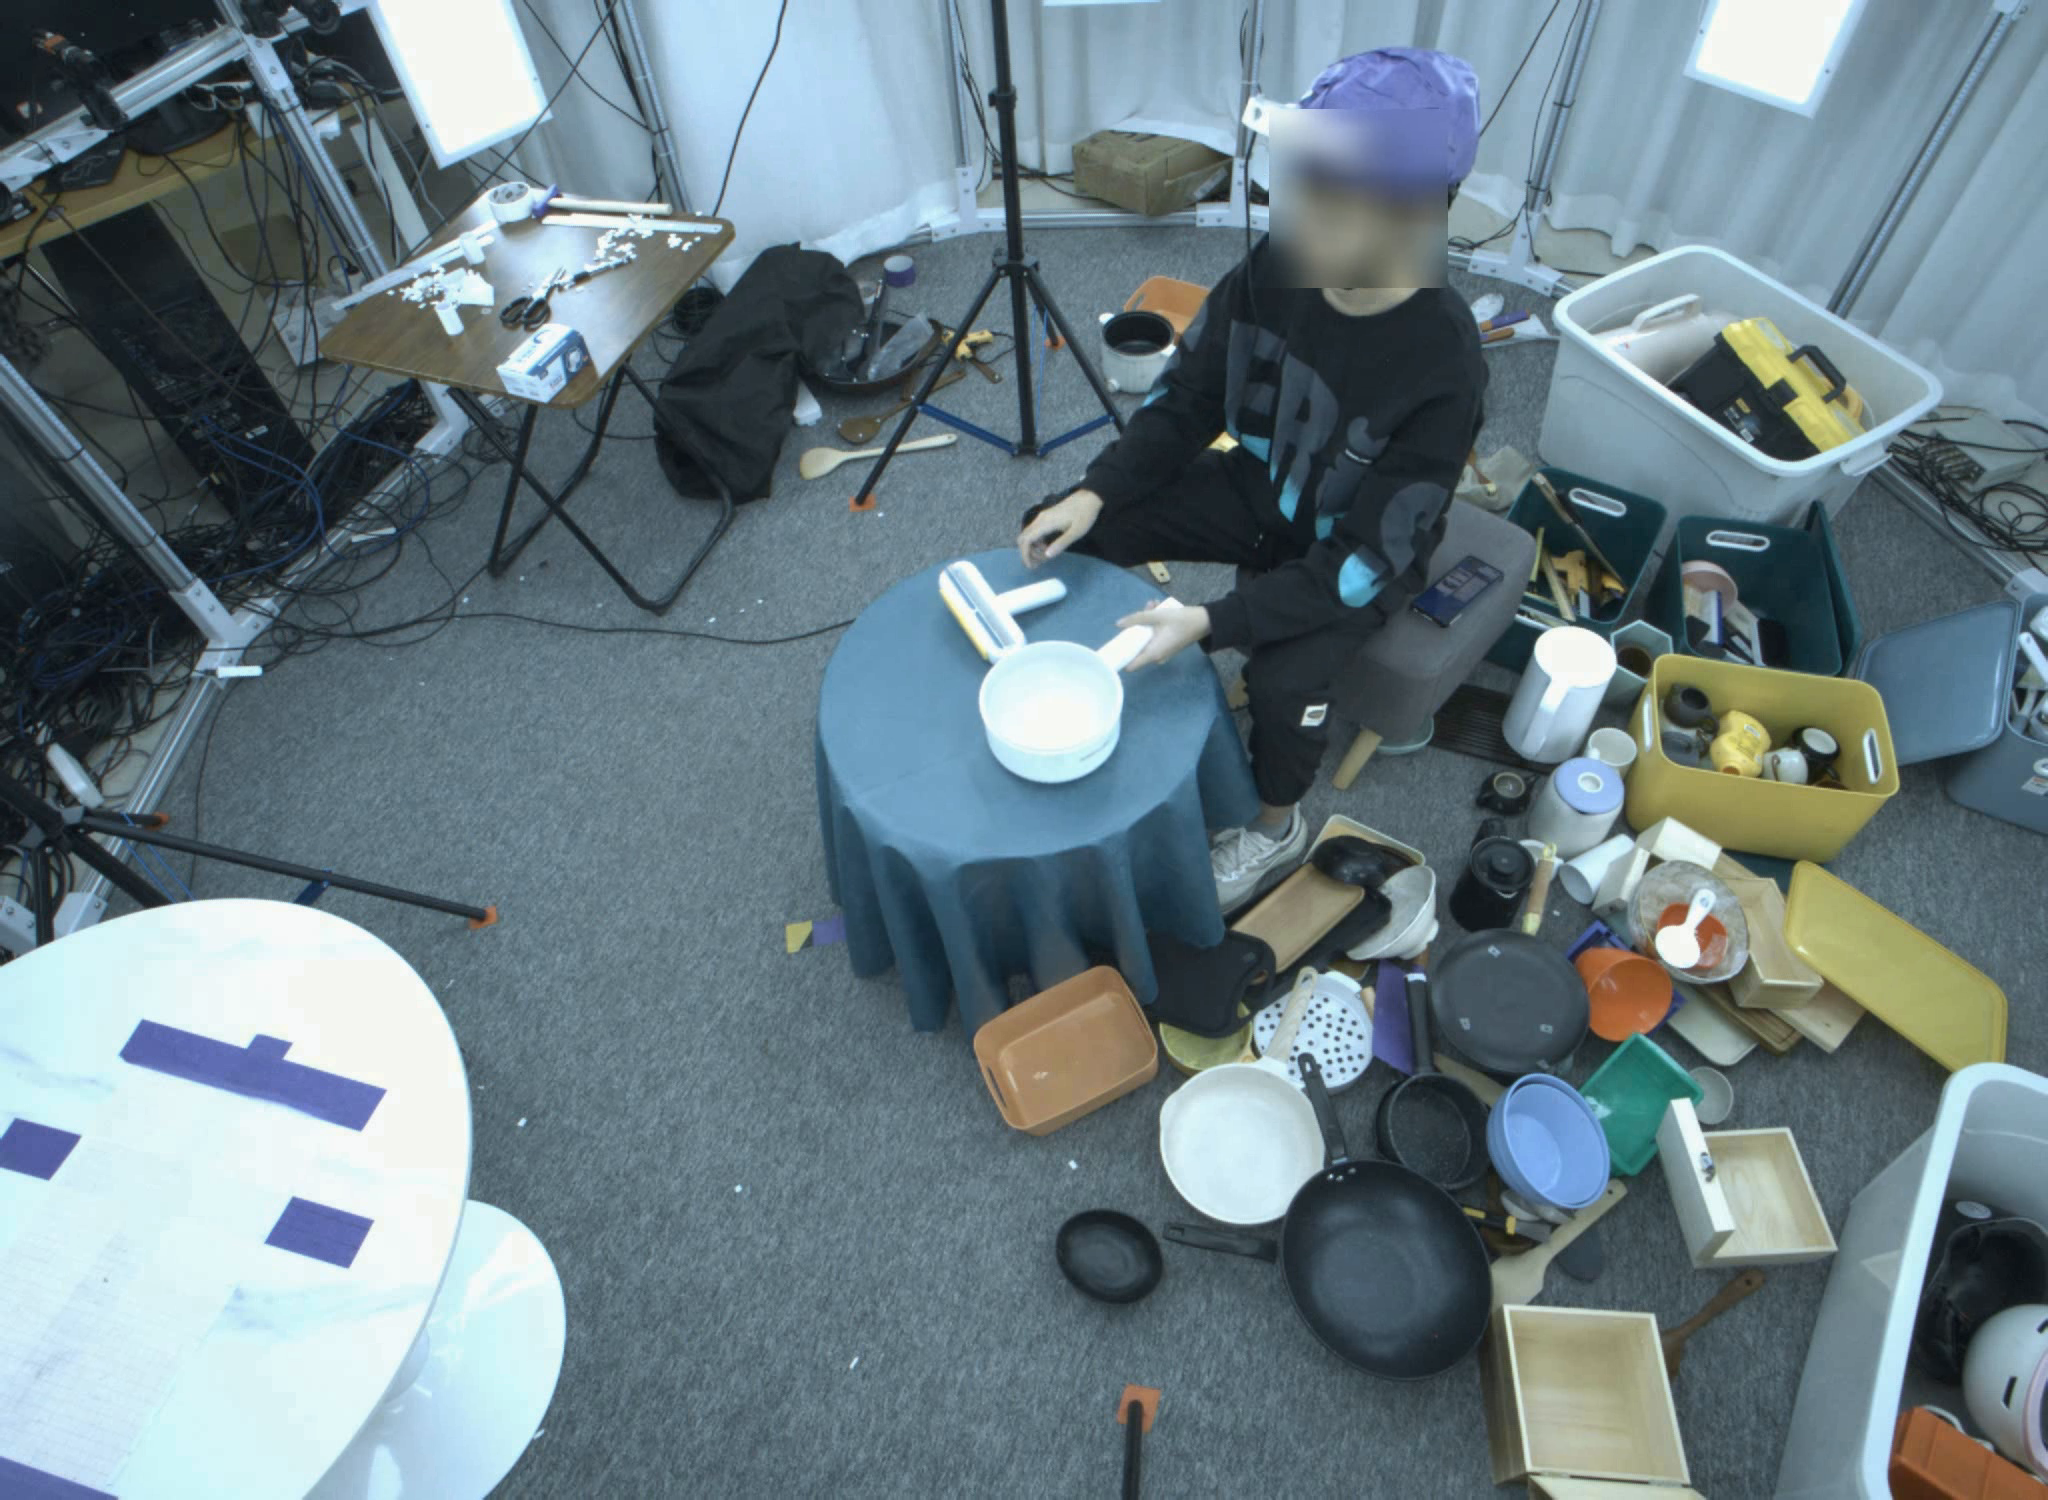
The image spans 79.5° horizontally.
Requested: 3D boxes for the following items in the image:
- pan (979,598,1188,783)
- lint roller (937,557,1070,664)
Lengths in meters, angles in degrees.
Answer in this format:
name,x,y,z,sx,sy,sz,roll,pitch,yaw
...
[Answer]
name,x,y,z,sx,sy,sz,roll,pitch,yaw
pan,0.097,-0.093,1.782,0.357,0.103,0.197,-37,61,-22
lint roller,-0.017,-0.233,1.907,0.194,0.075,0.189,-24,62,-16
